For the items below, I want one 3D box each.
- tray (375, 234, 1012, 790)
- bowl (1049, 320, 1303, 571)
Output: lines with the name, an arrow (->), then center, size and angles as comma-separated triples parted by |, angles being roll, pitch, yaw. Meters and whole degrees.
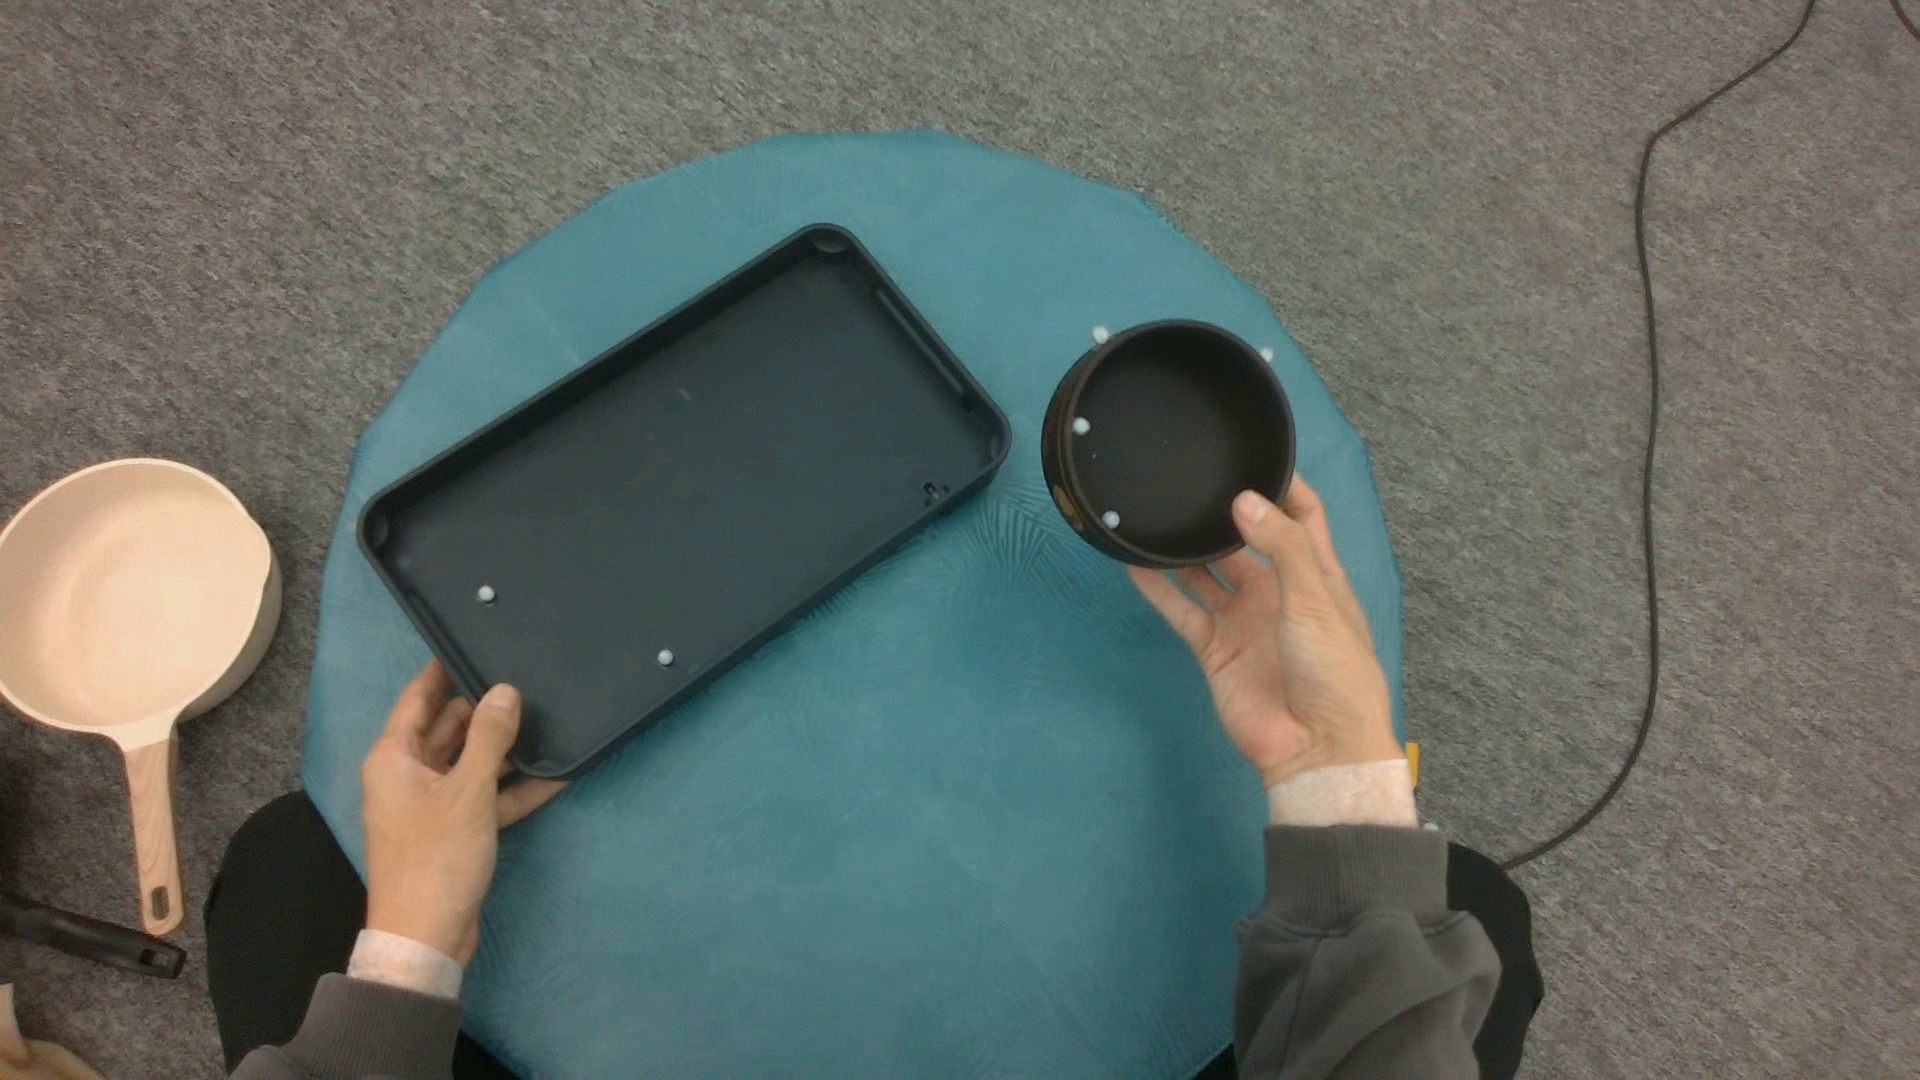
tray -> -0.141, -0.022, 0.769 | 0.319, 0.037, 0.184 | -38, 79, -15
bowl -> 0.099, -0.043, 0.669 | 0.118, 0.070, 0.118 | 1, 87, -11
